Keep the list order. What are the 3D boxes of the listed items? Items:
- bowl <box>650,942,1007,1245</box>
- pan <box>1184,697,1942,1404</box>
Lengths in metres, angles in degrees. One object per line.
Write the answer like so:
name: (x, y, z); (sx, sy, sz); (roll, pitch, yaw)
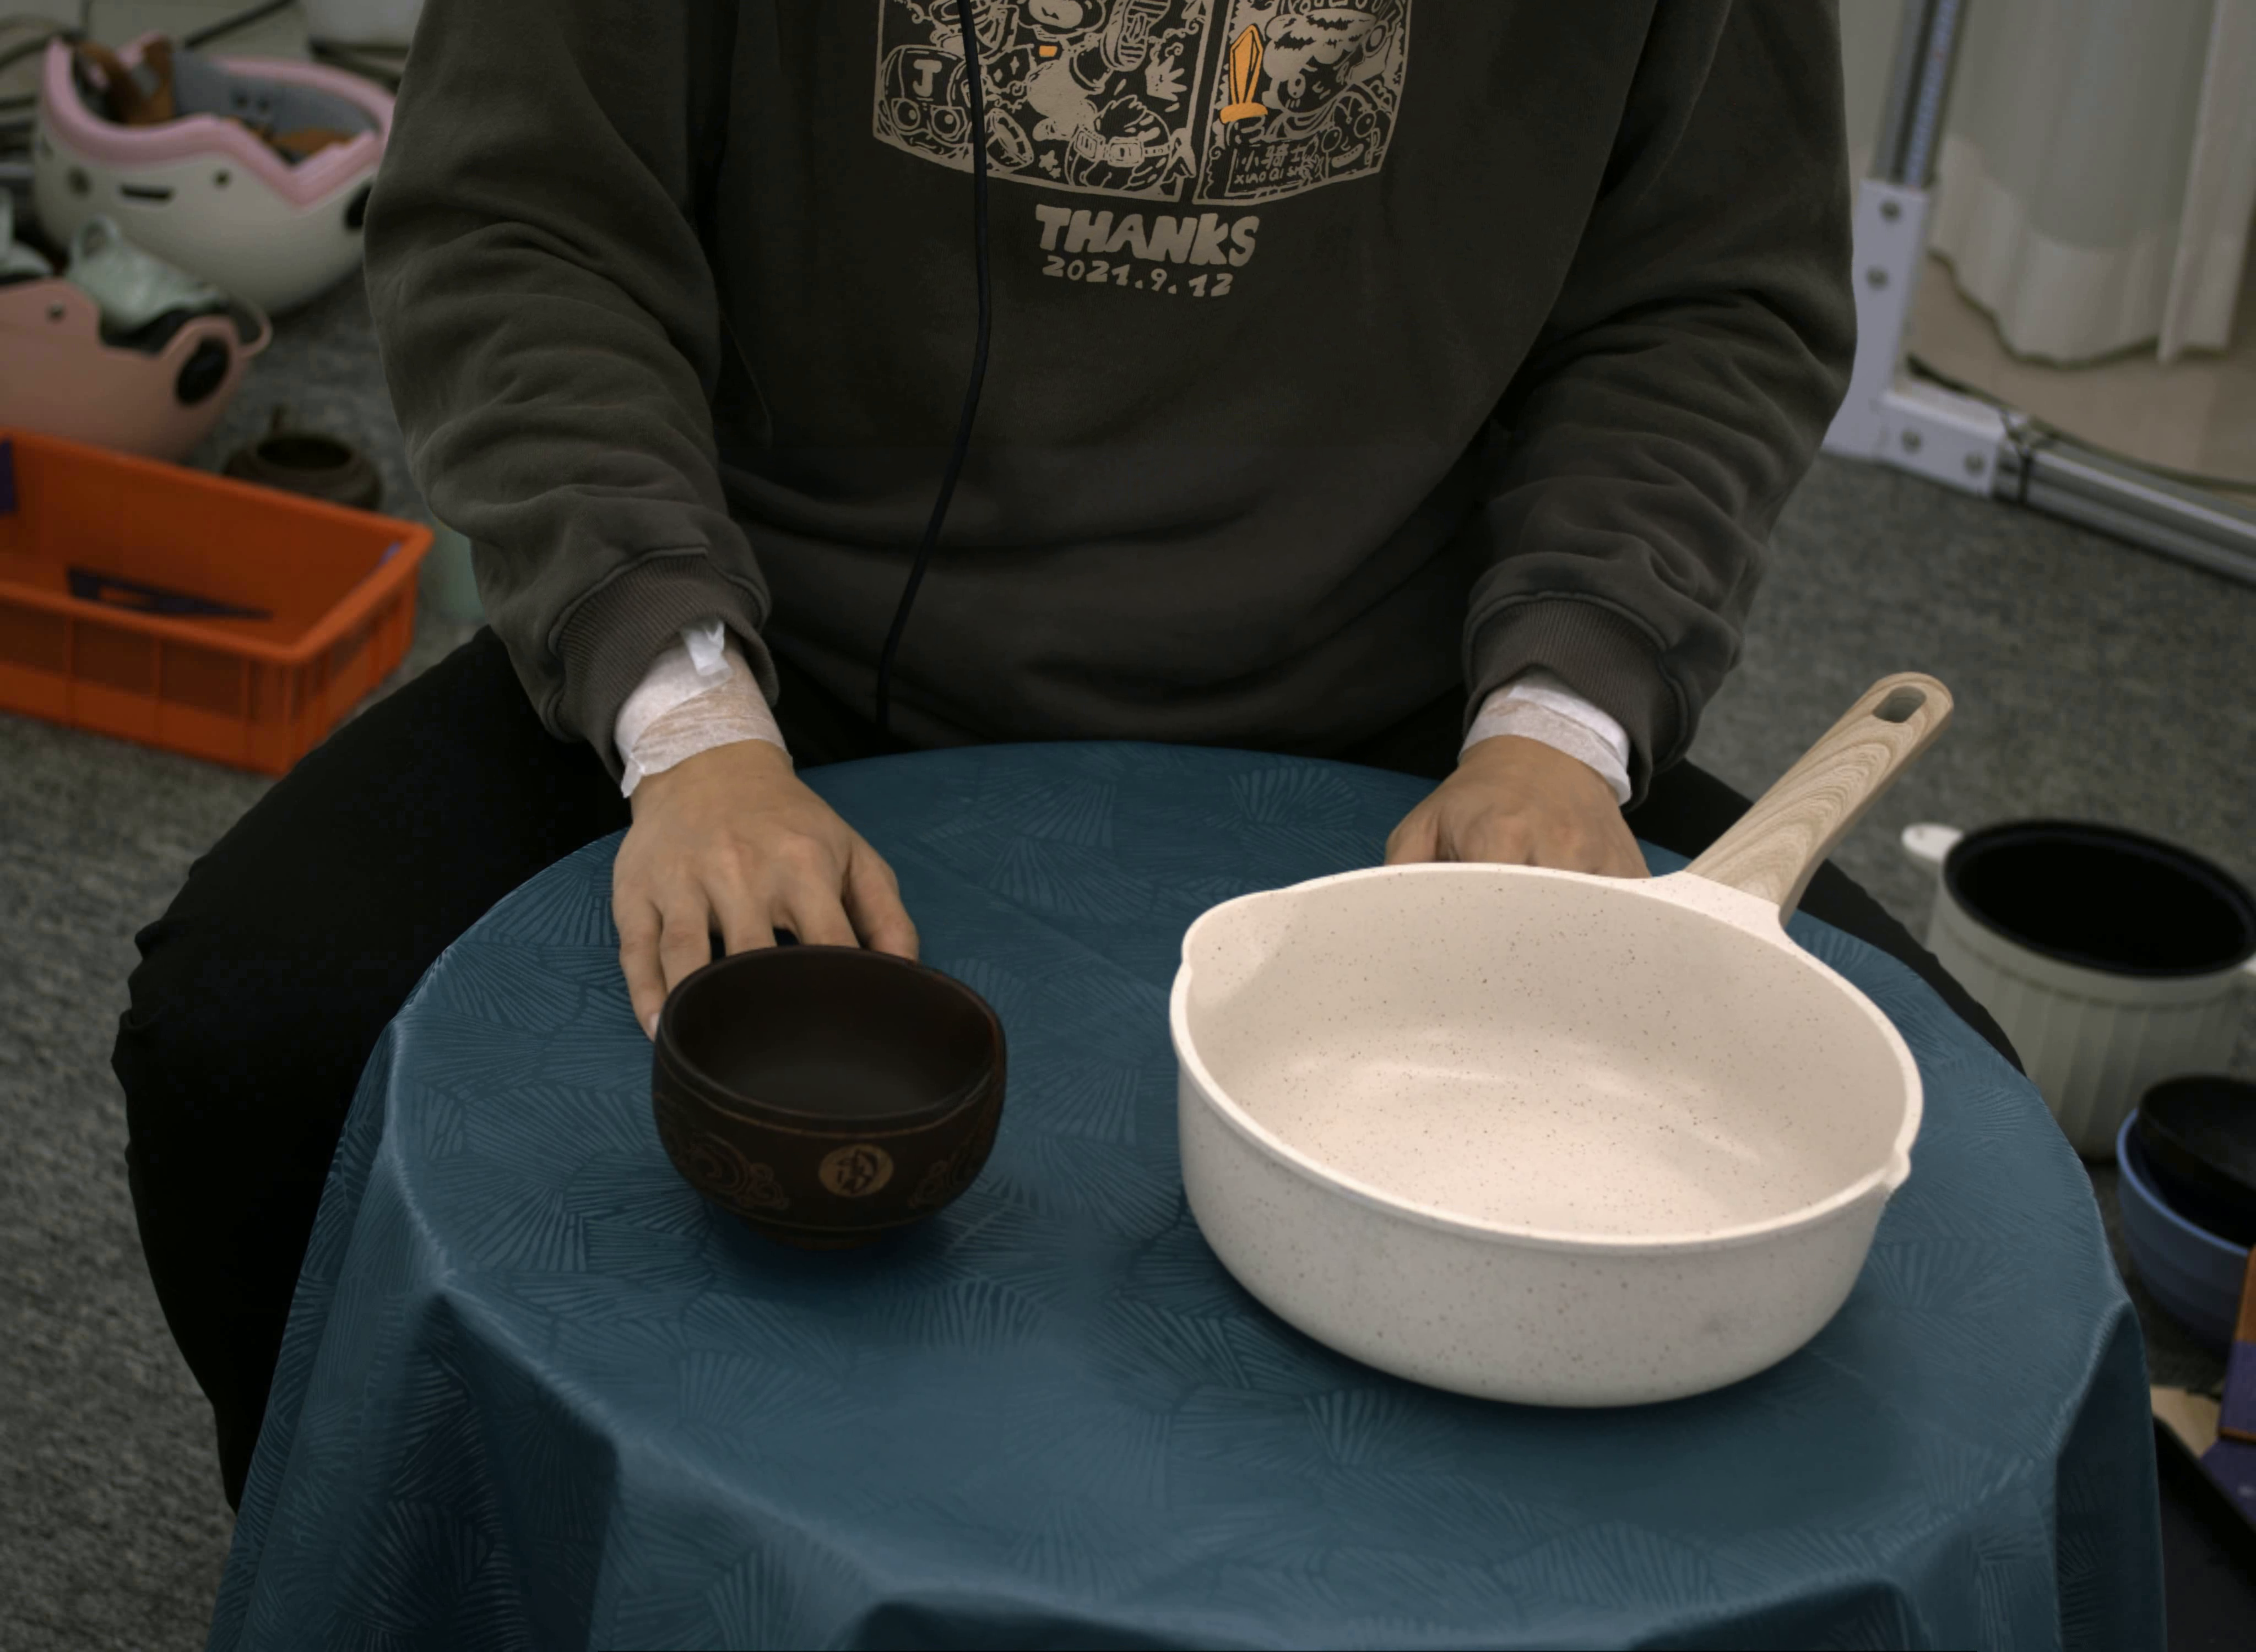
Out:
bowl: (-0.100, 0.095, 1.759); (0.117, 0.069, 0.119); (4, 25, -2)
pan: (0.186, 0.070, 1.844); (0.264, 0.101, 0.434); (18, 28, 26)
